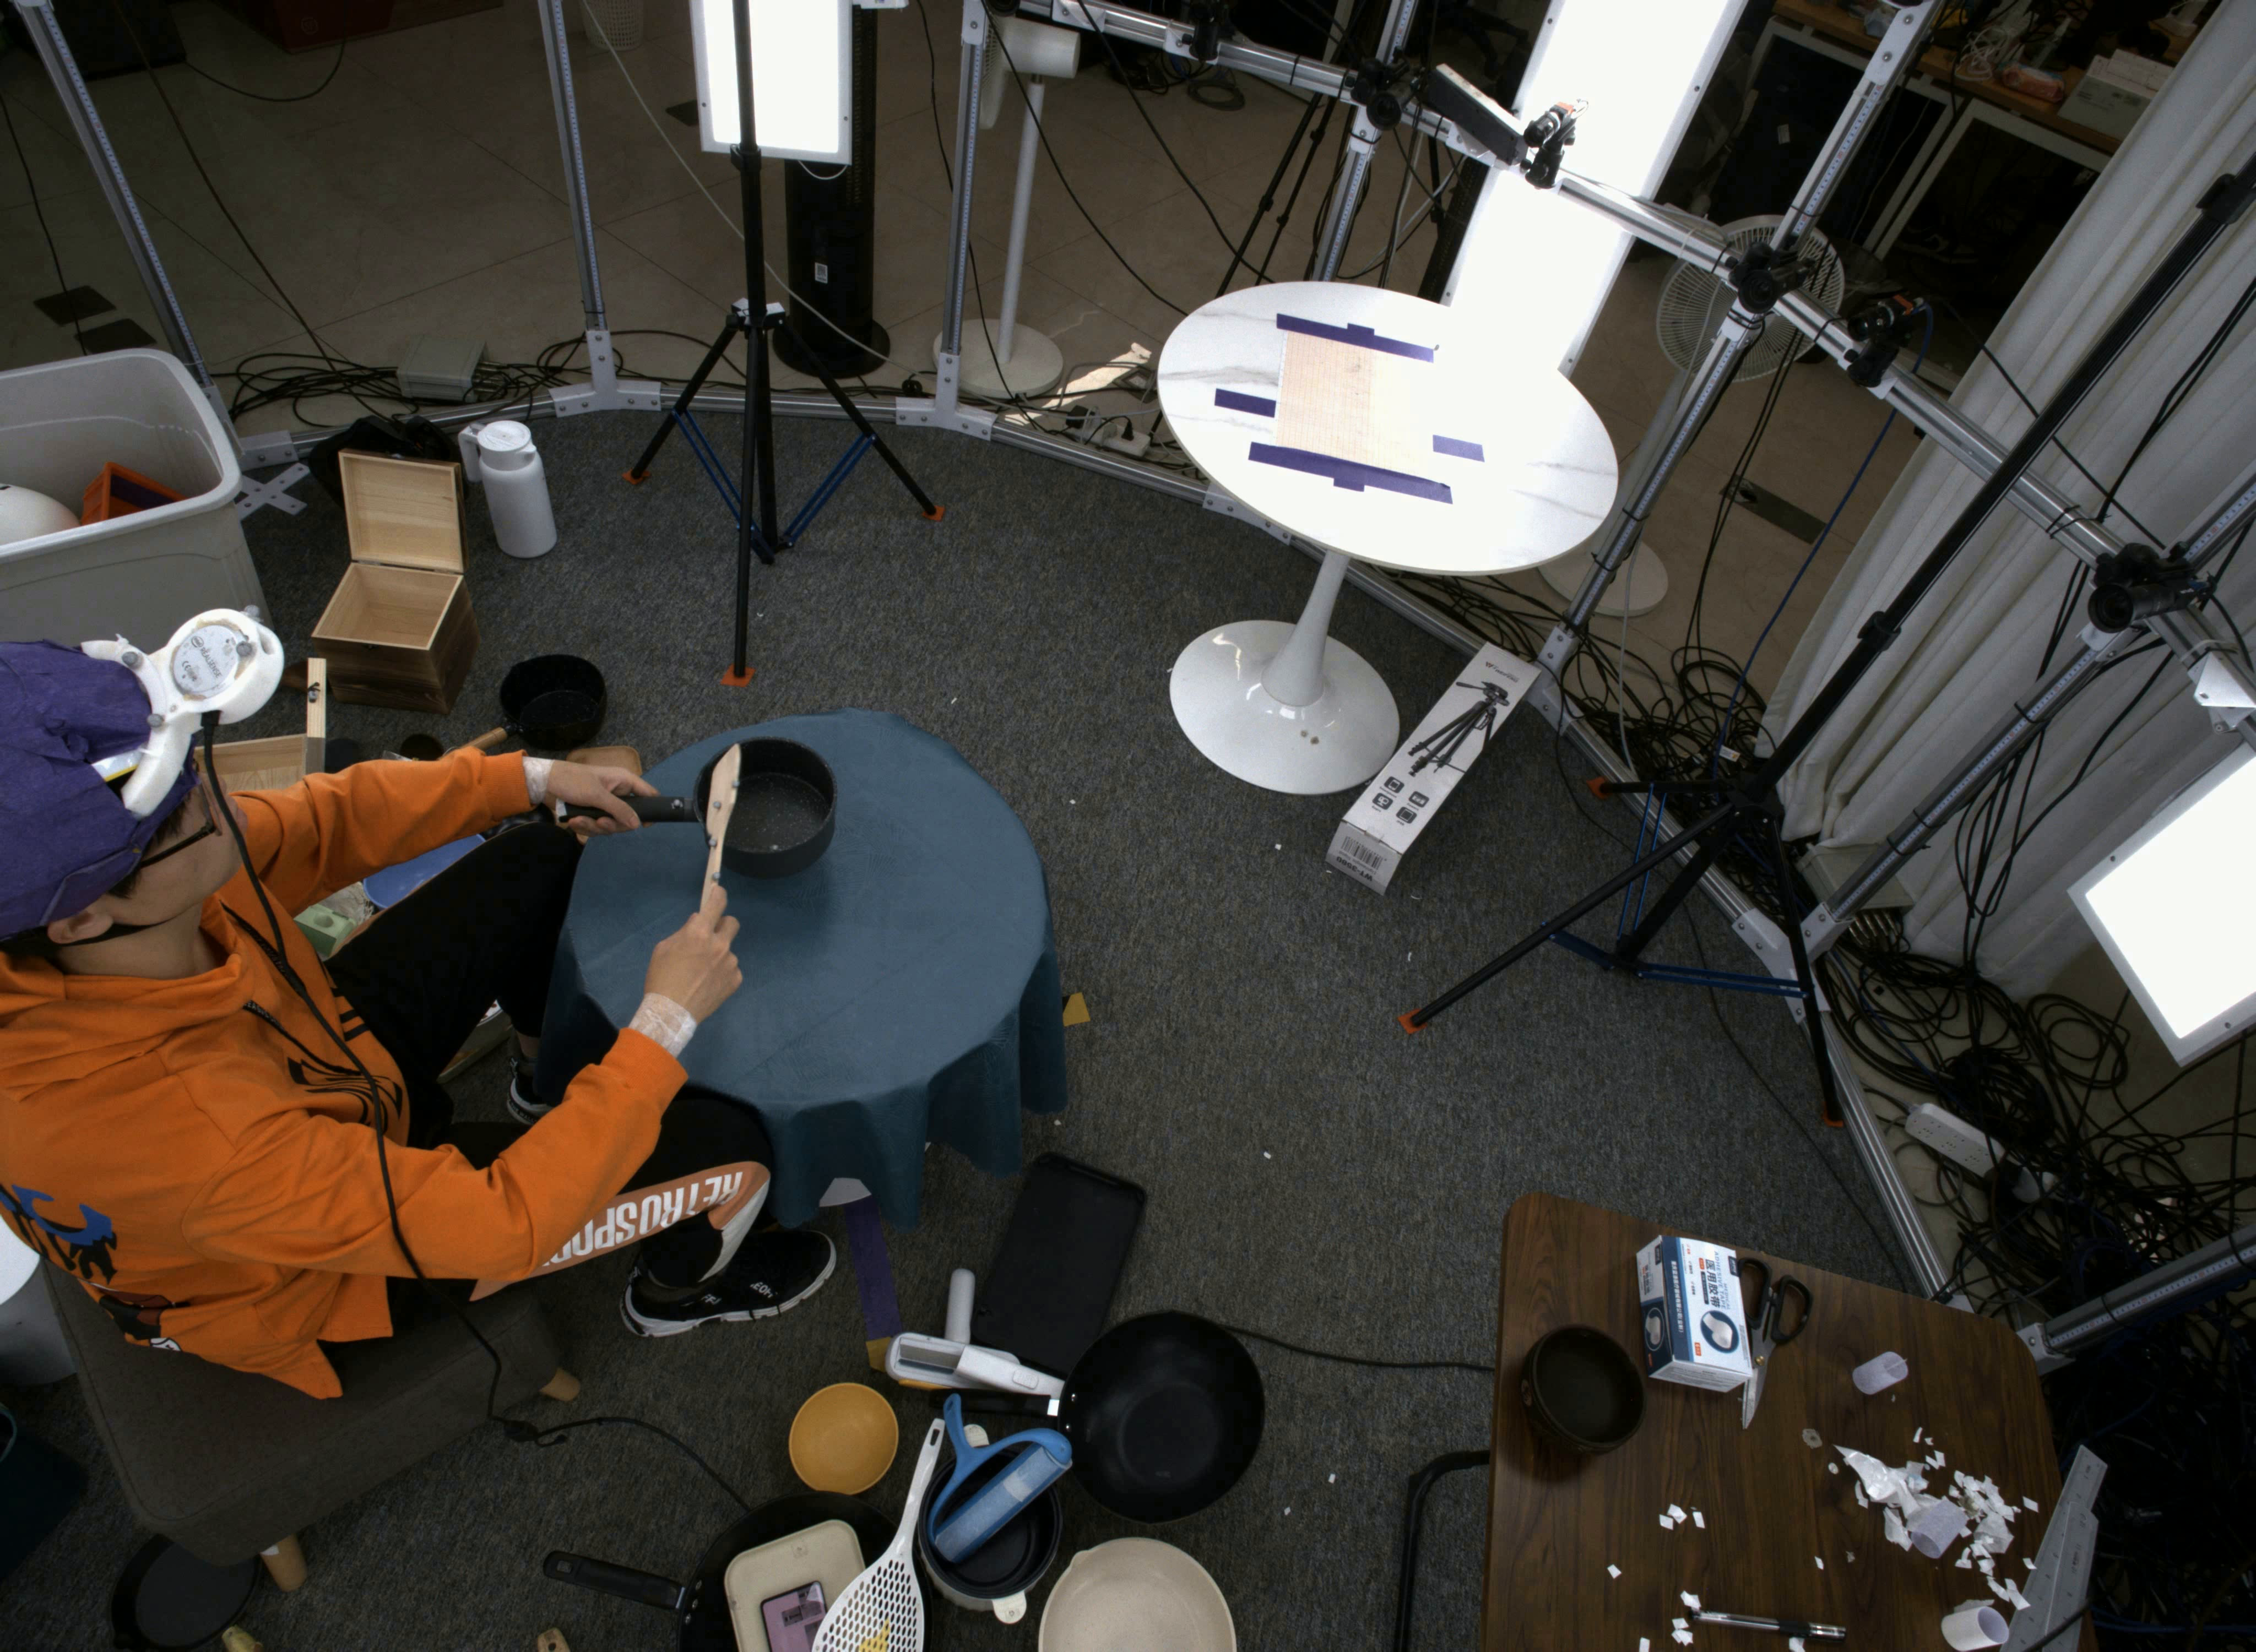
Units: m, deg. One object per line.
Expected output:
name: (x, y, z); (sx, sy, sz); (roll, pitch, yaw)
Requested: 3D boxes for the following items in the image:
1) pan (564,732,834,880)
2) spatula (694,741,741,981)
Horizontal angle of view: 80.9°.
pan: (-0.522, -0.020, 1.564); (0.330, 0.088, 0.169); (-2, 58, -16)
spatula: (-0.455, 0.036, 1.424); (0.011, 0.072, 0.287); (20, 49, -33)
